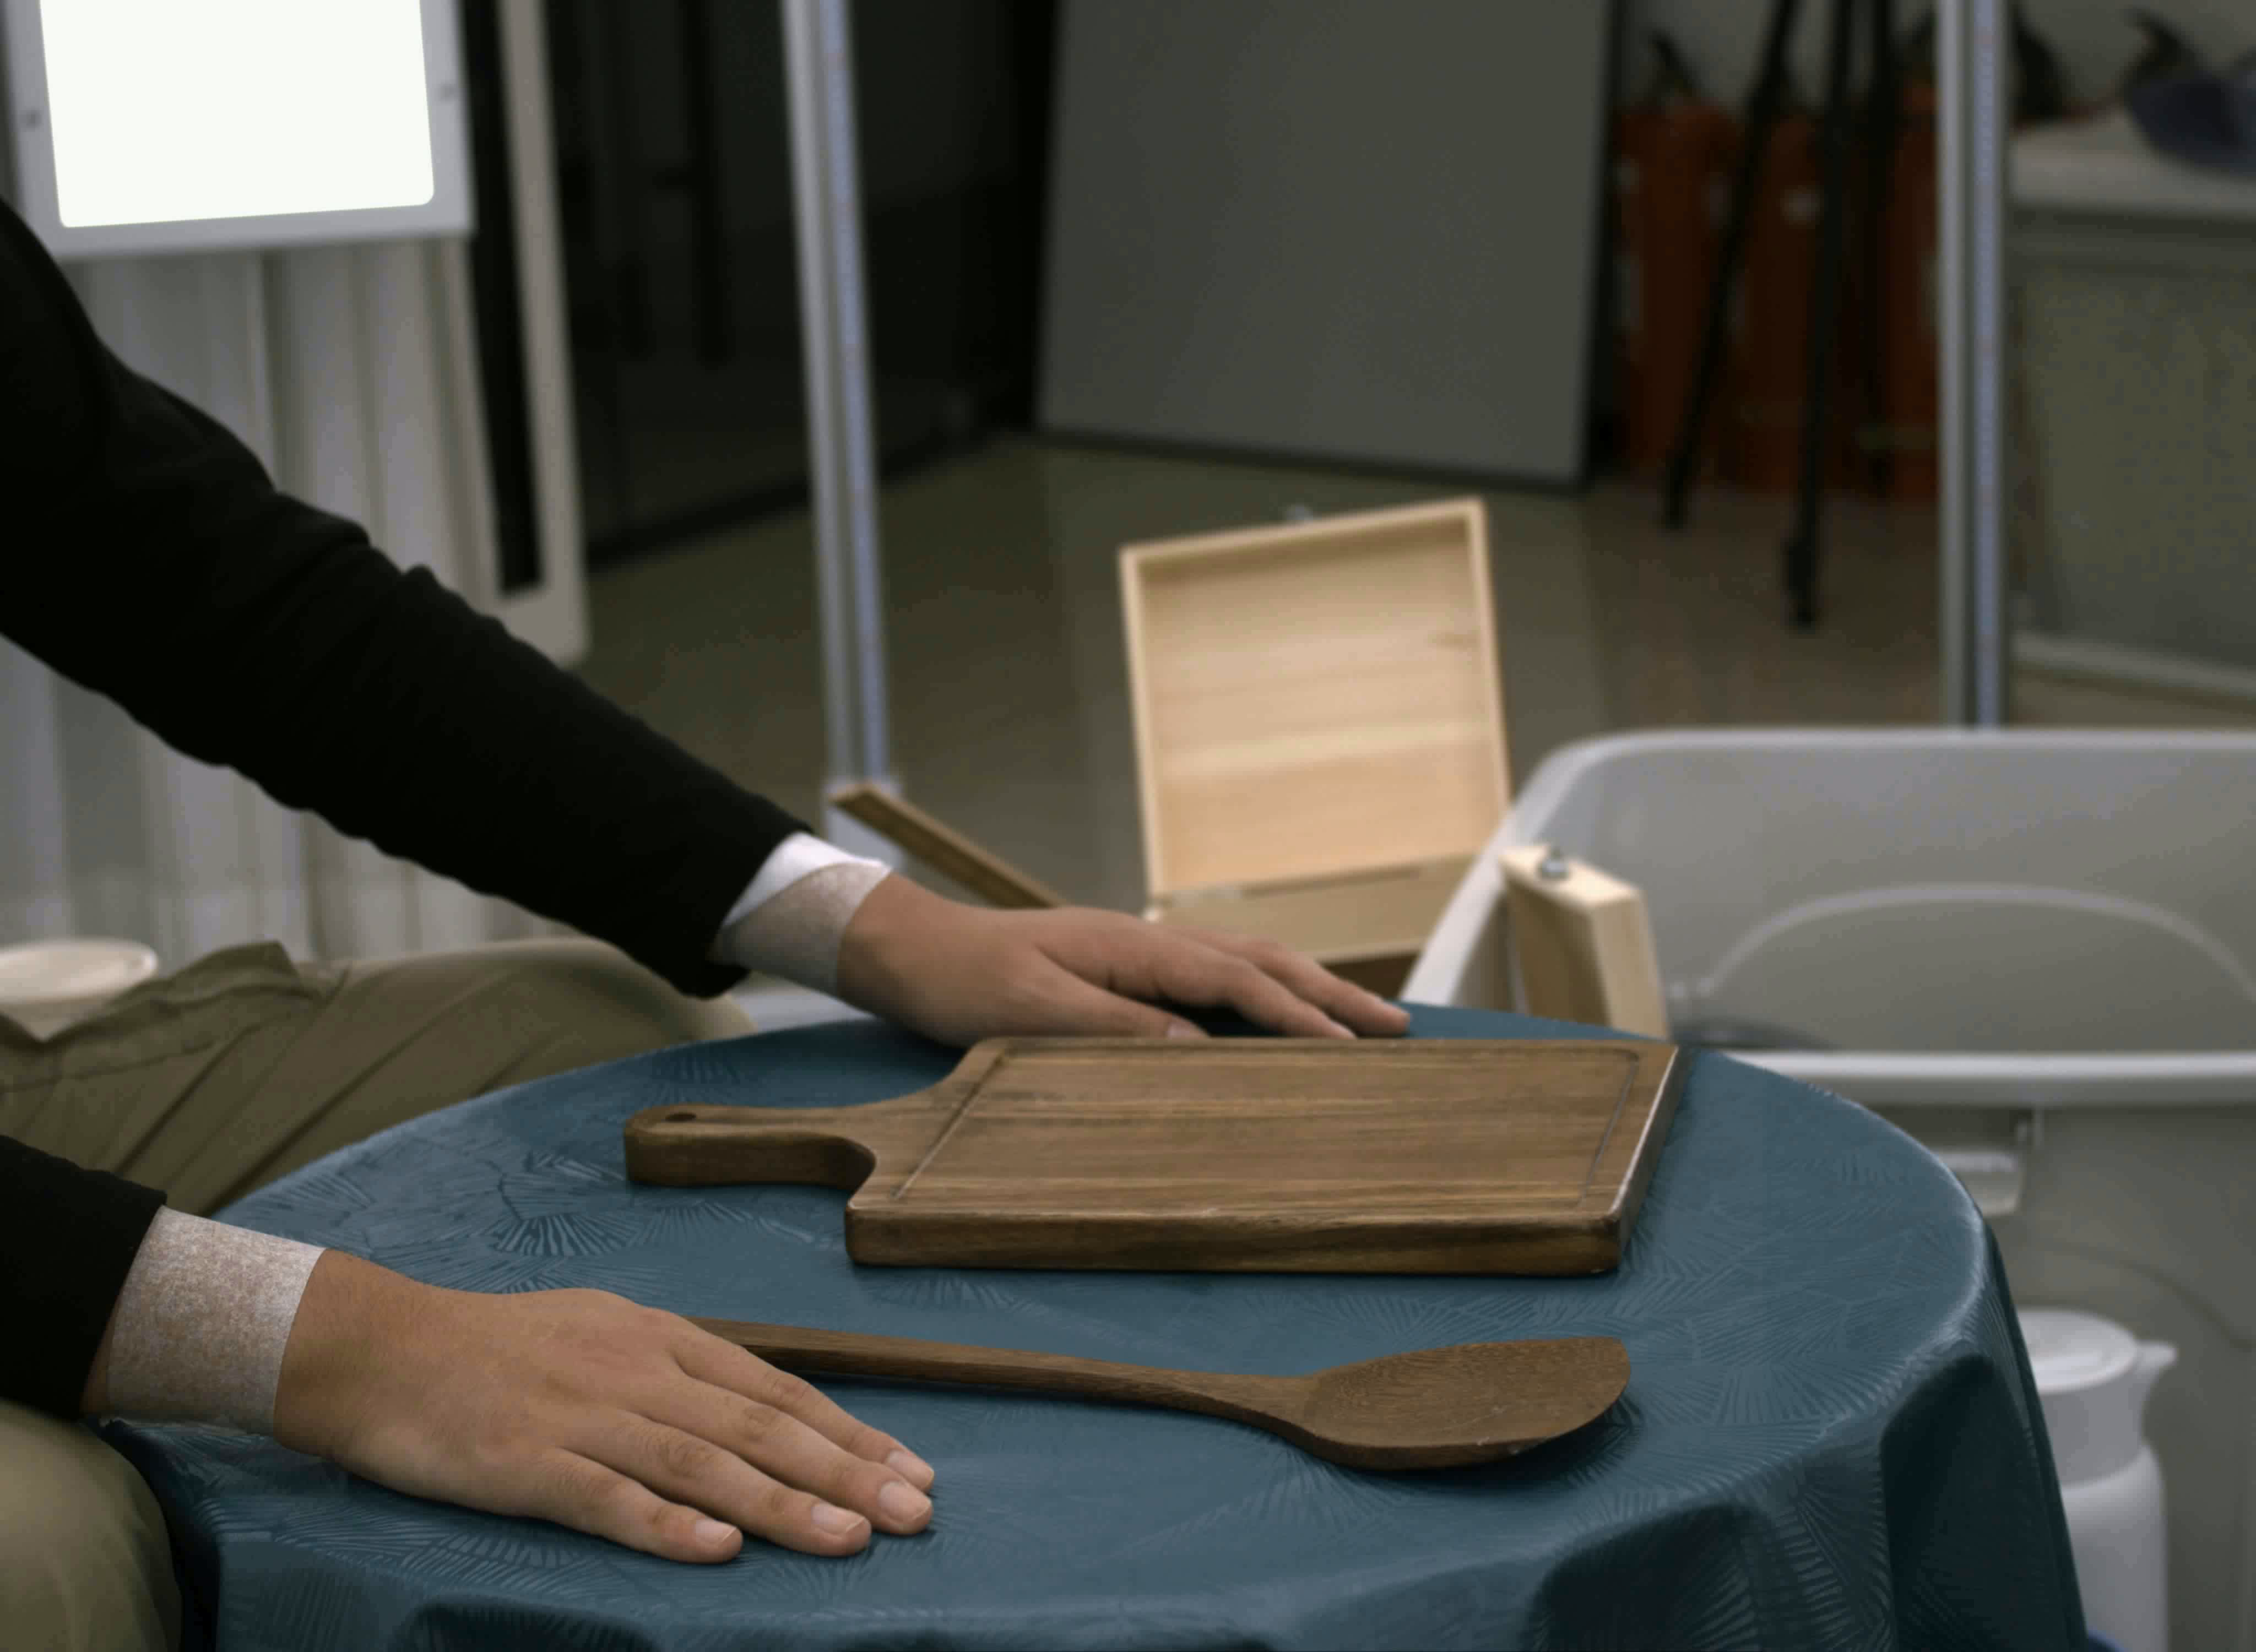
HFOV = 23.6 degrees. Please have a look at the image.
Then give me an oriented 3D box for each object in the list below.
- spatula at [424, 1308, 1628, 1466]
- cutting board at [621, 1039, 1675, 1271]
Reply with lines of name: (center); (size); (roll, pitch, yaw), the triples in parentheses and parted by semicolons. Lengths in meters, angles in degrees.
spatula: (-0.039, 0.160, 1.591); (0.386, 0.016, 0.095); (2, 15, 23)
cutting board: (0.001, 0.107, 1.783); (0.350, 0.023, 0.200); (-1, 14, 13)
